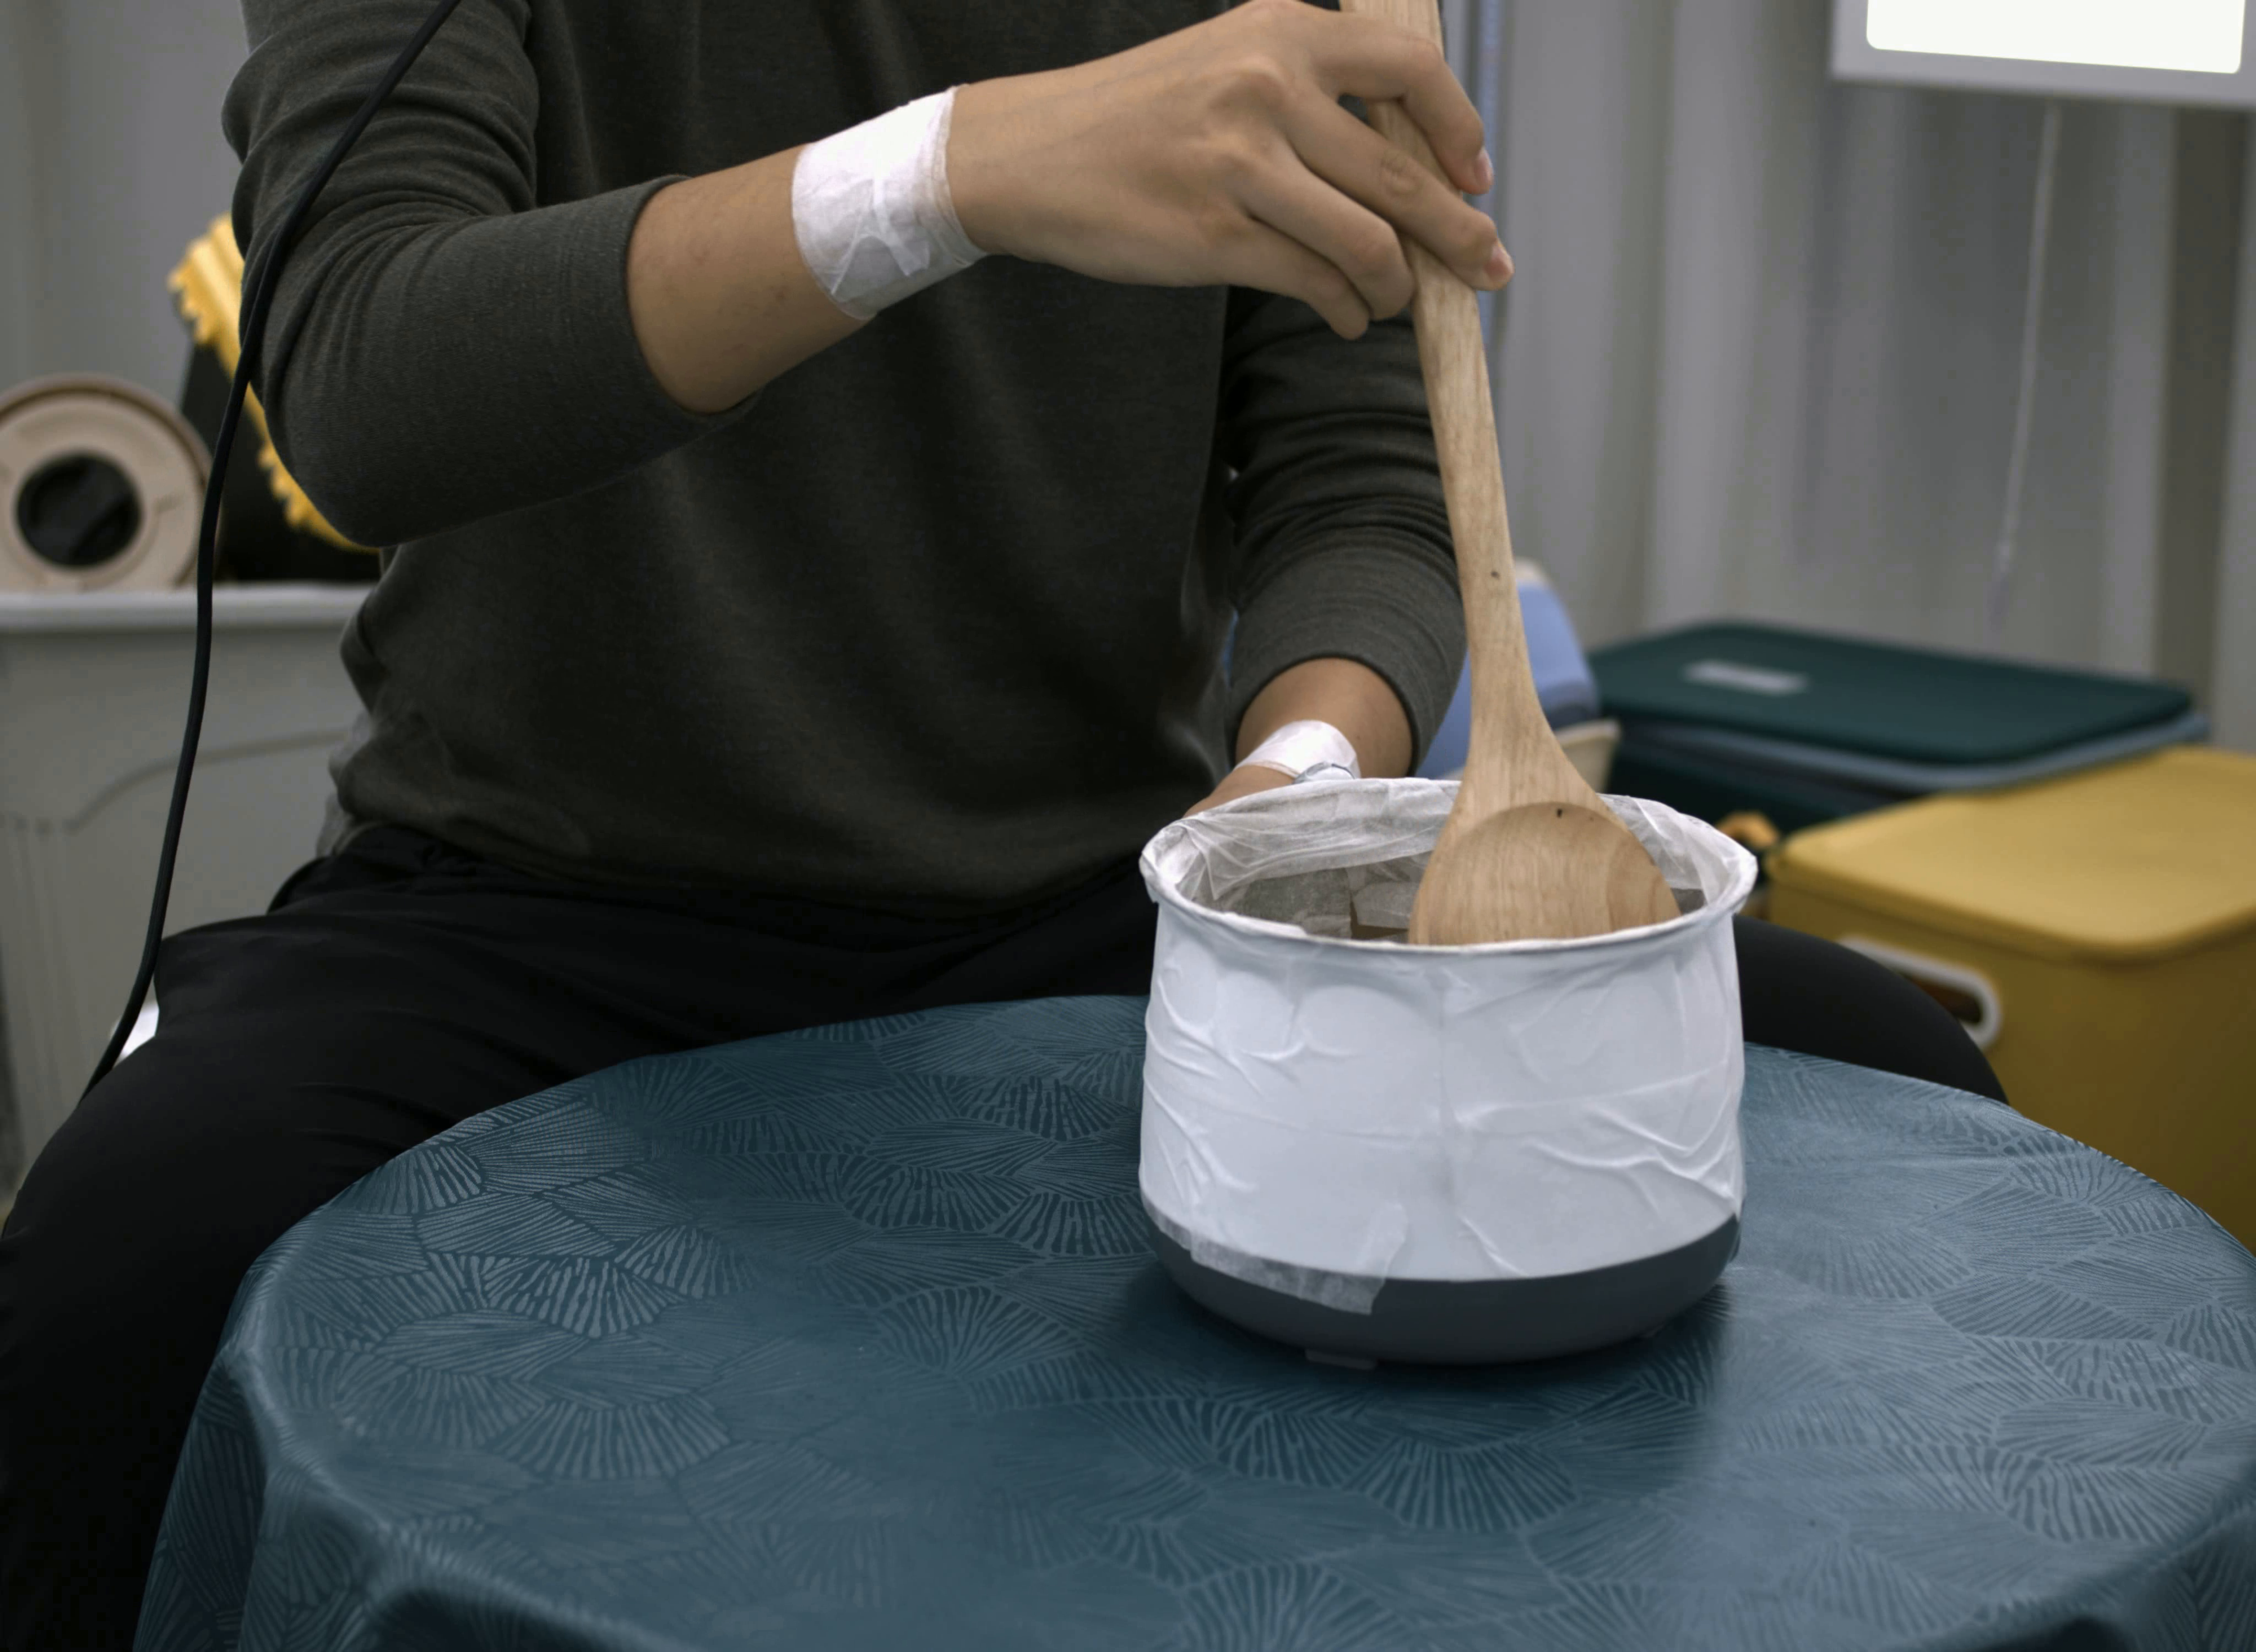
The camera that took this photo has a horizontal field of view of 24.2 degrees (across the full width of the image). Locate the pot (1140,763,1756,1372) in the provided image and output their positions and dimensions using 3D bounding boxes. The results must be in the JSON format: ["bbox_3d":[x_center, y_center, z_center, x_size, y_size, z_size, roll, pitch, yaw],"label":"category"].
[{"bbox_3d":[0.082,0.065,1.548,0.179,0.138,0.231,-5,16,-19],"label":"pot"}]

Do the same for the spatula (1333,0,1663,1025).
[{"bbox_3d":[0.091,-0.107,1.508,0.096,0.392,0.018,-12,5,-28],"label":"spatula"}]
